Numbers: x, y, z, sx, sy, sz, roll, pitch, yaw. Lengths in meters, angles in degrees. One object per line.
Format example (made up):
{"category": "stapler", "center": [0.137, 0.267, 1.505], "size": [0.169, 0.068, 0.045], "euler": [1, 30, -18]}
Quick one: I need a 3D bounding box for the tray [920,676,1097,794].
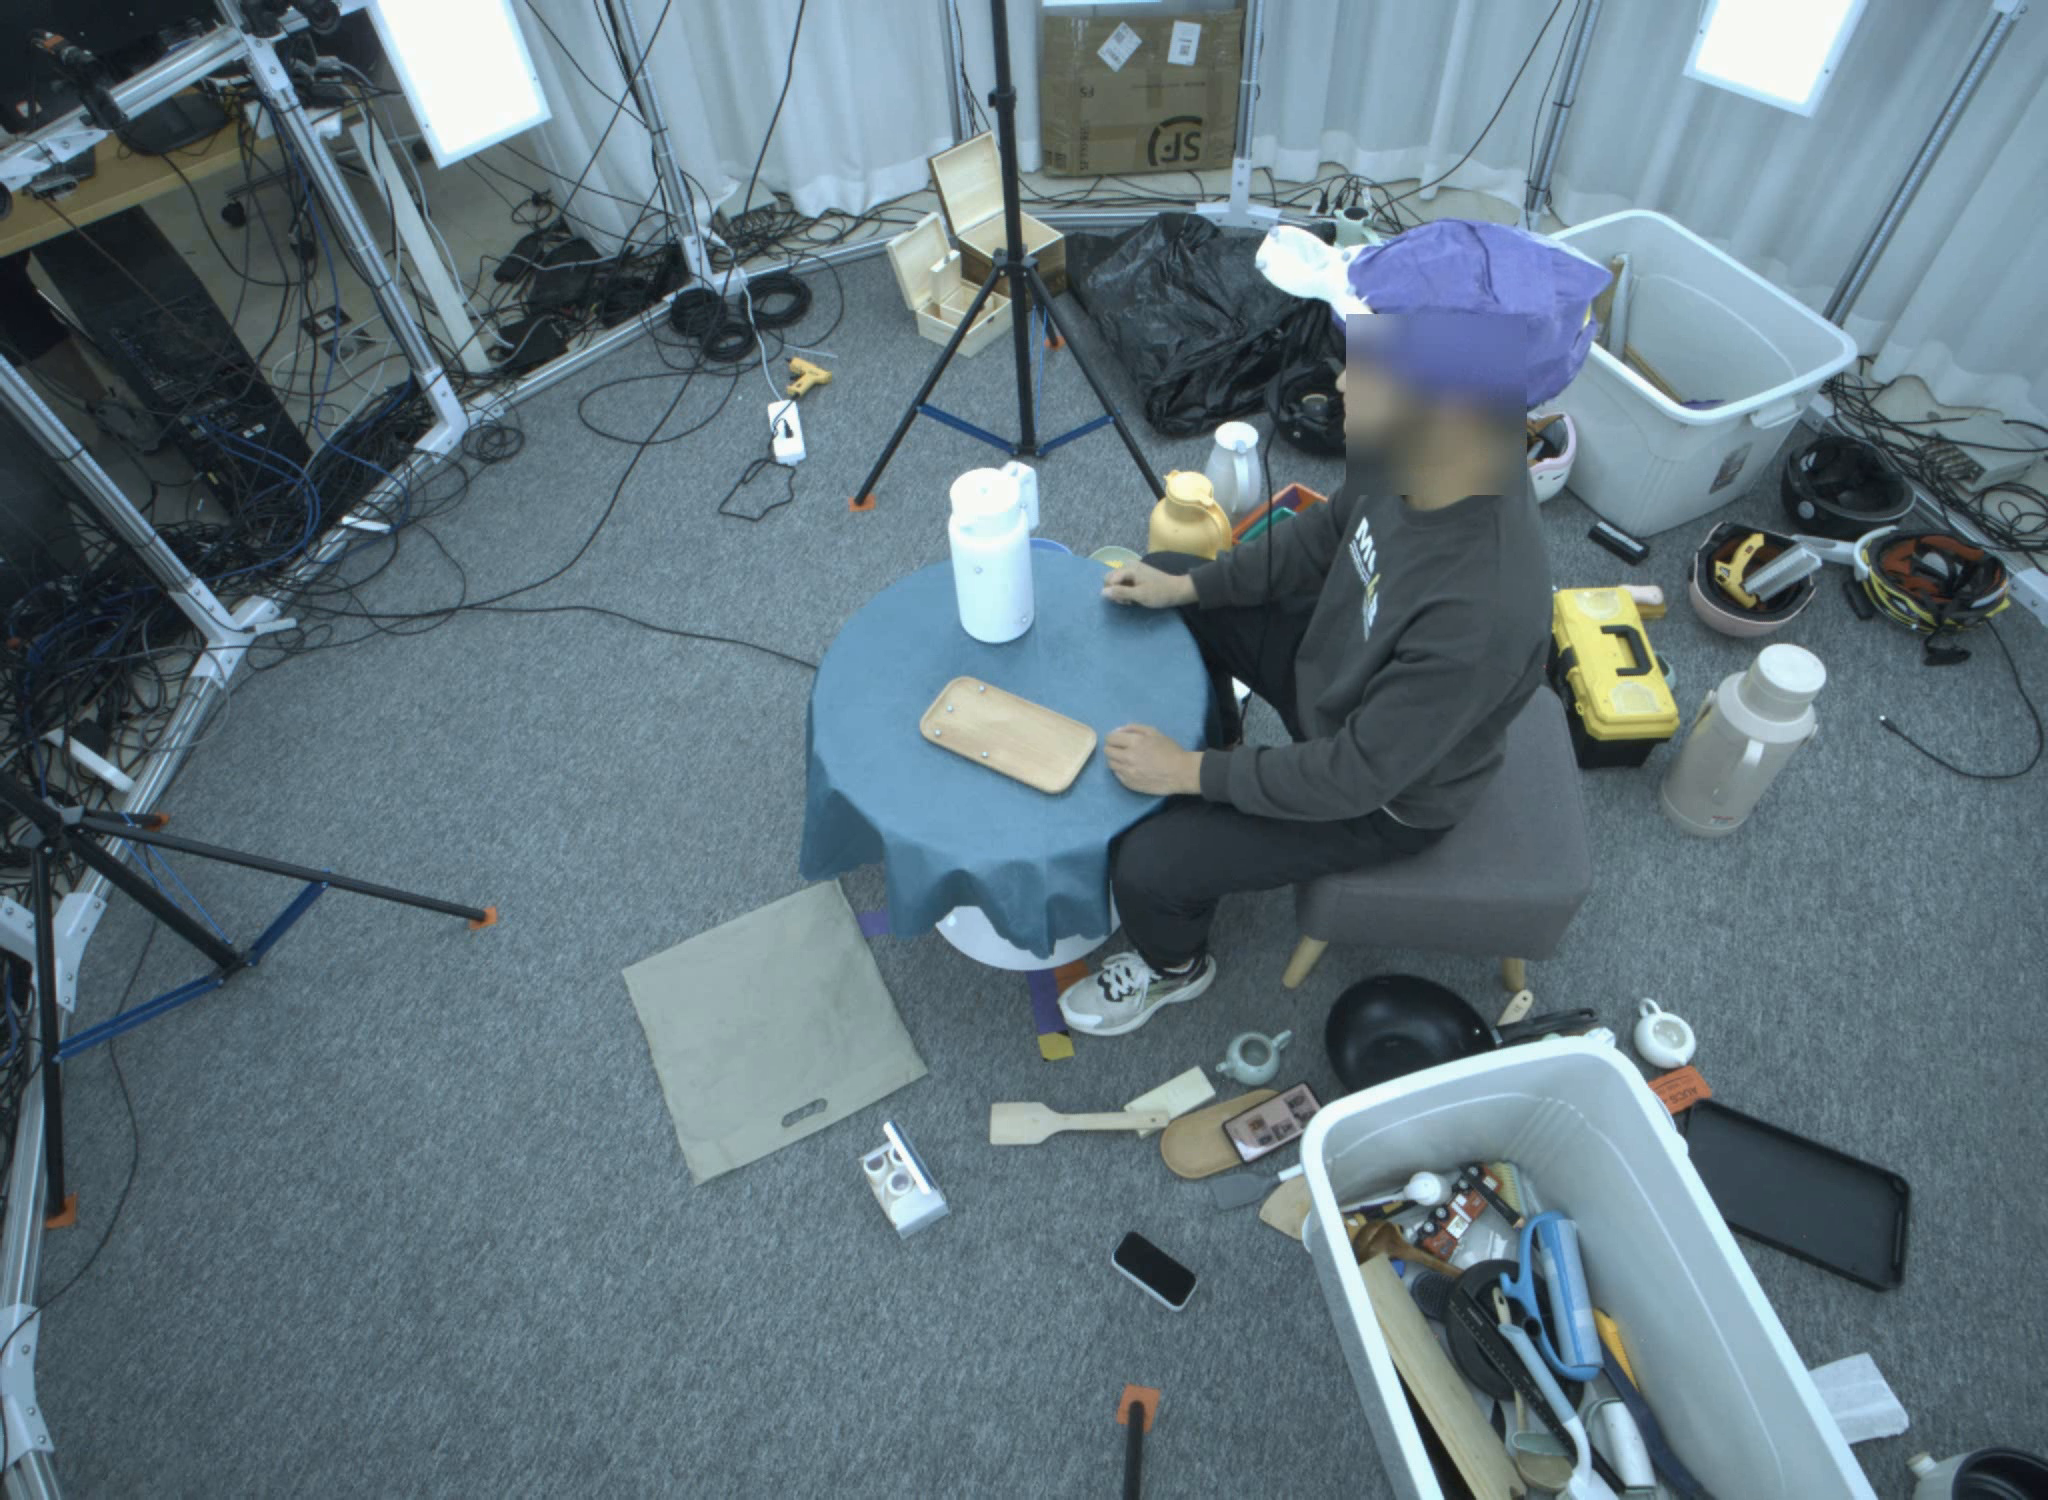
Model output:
{"category": "tray", "center": [-0.023, -0.023, 1.793], "size": [0.247, 0.023, 0.131], "euler": [25, 61, 17]}

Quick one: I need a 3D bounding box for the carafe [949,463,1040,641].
{"category": "carafe", "center": [-0.039, -0.301, 1.836], "size": [0.122, 0.272, 0.173], "euler": [28, 61, 23]}
